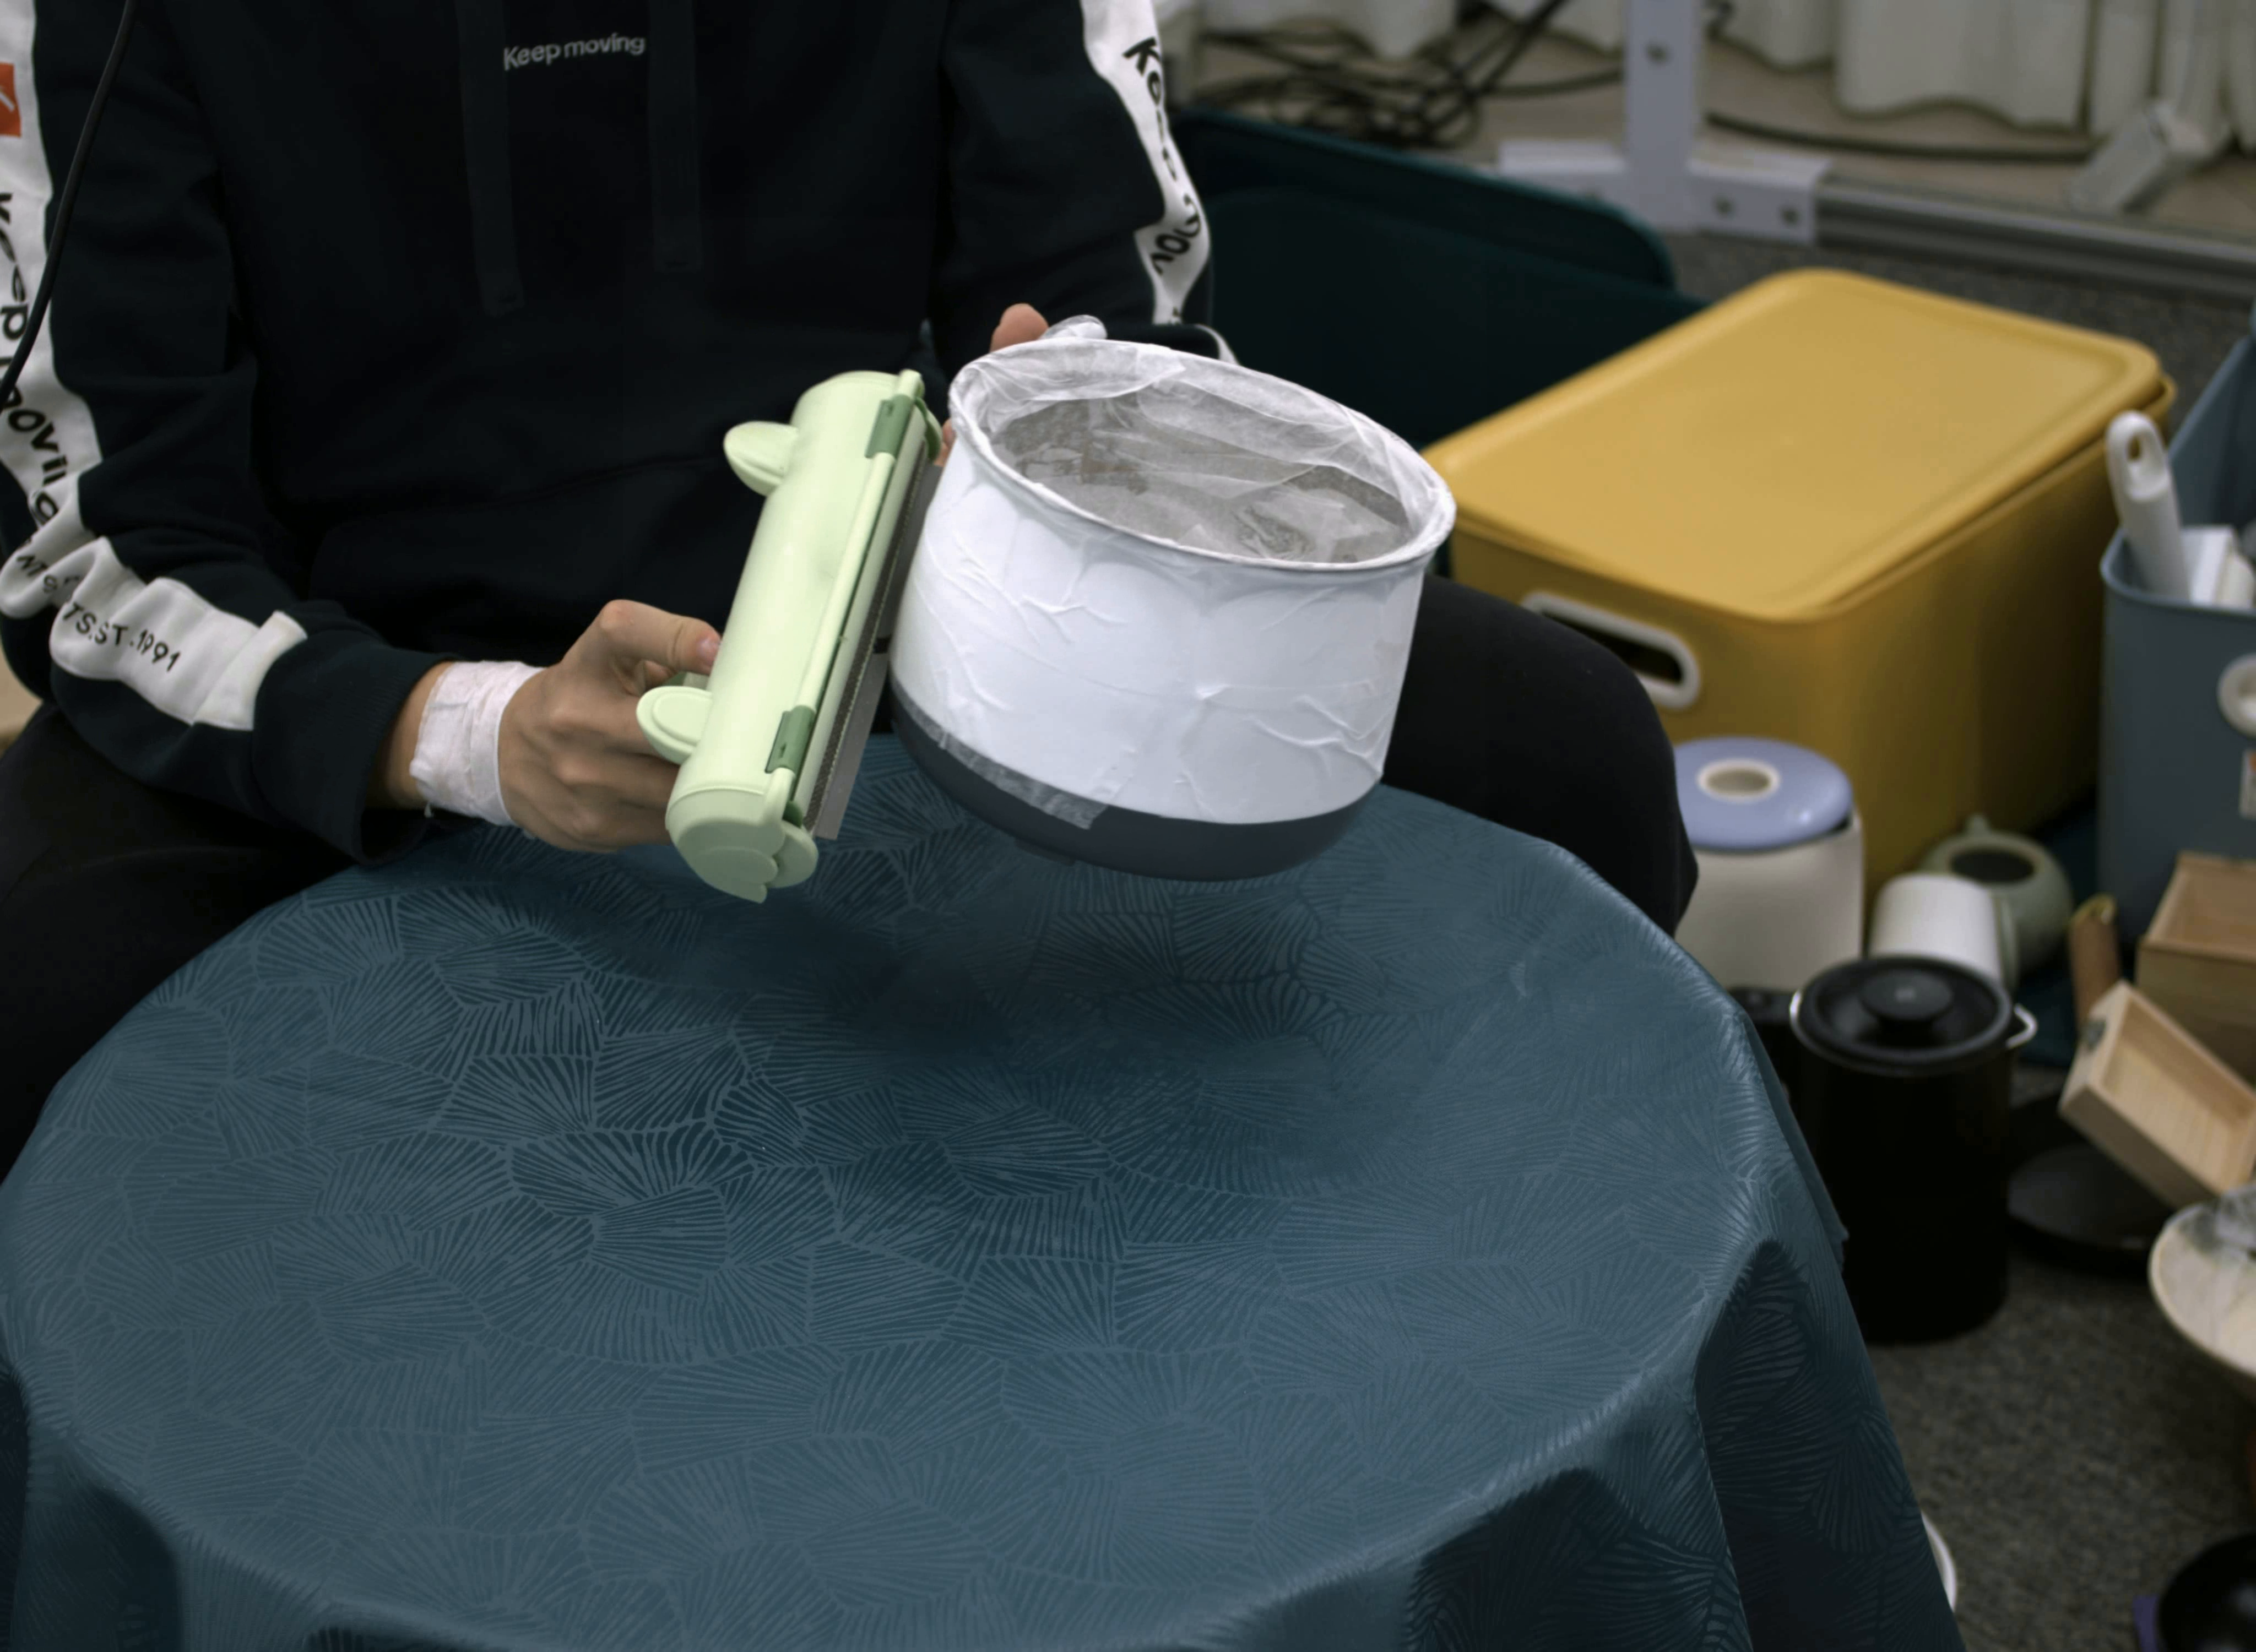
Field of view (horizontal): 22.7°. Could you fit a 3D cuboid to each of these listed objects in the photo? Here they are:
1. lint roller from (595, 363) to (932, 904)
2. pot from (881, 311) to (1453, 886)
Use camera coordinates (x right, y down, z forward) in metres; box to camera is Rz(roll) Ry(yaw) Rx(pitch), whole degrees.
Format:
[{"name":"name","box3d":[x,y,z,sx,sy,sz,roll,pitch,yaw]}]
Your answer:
[{"name":"lint roller","box3d":[-0.152,-0.055,1.962,0.180,0.082,0.202,-25,41,43]},{"name":"pot","box3d":[-0.002,-0.085,1.951,0.179,0.135,0.236,1,29,-29]}]
